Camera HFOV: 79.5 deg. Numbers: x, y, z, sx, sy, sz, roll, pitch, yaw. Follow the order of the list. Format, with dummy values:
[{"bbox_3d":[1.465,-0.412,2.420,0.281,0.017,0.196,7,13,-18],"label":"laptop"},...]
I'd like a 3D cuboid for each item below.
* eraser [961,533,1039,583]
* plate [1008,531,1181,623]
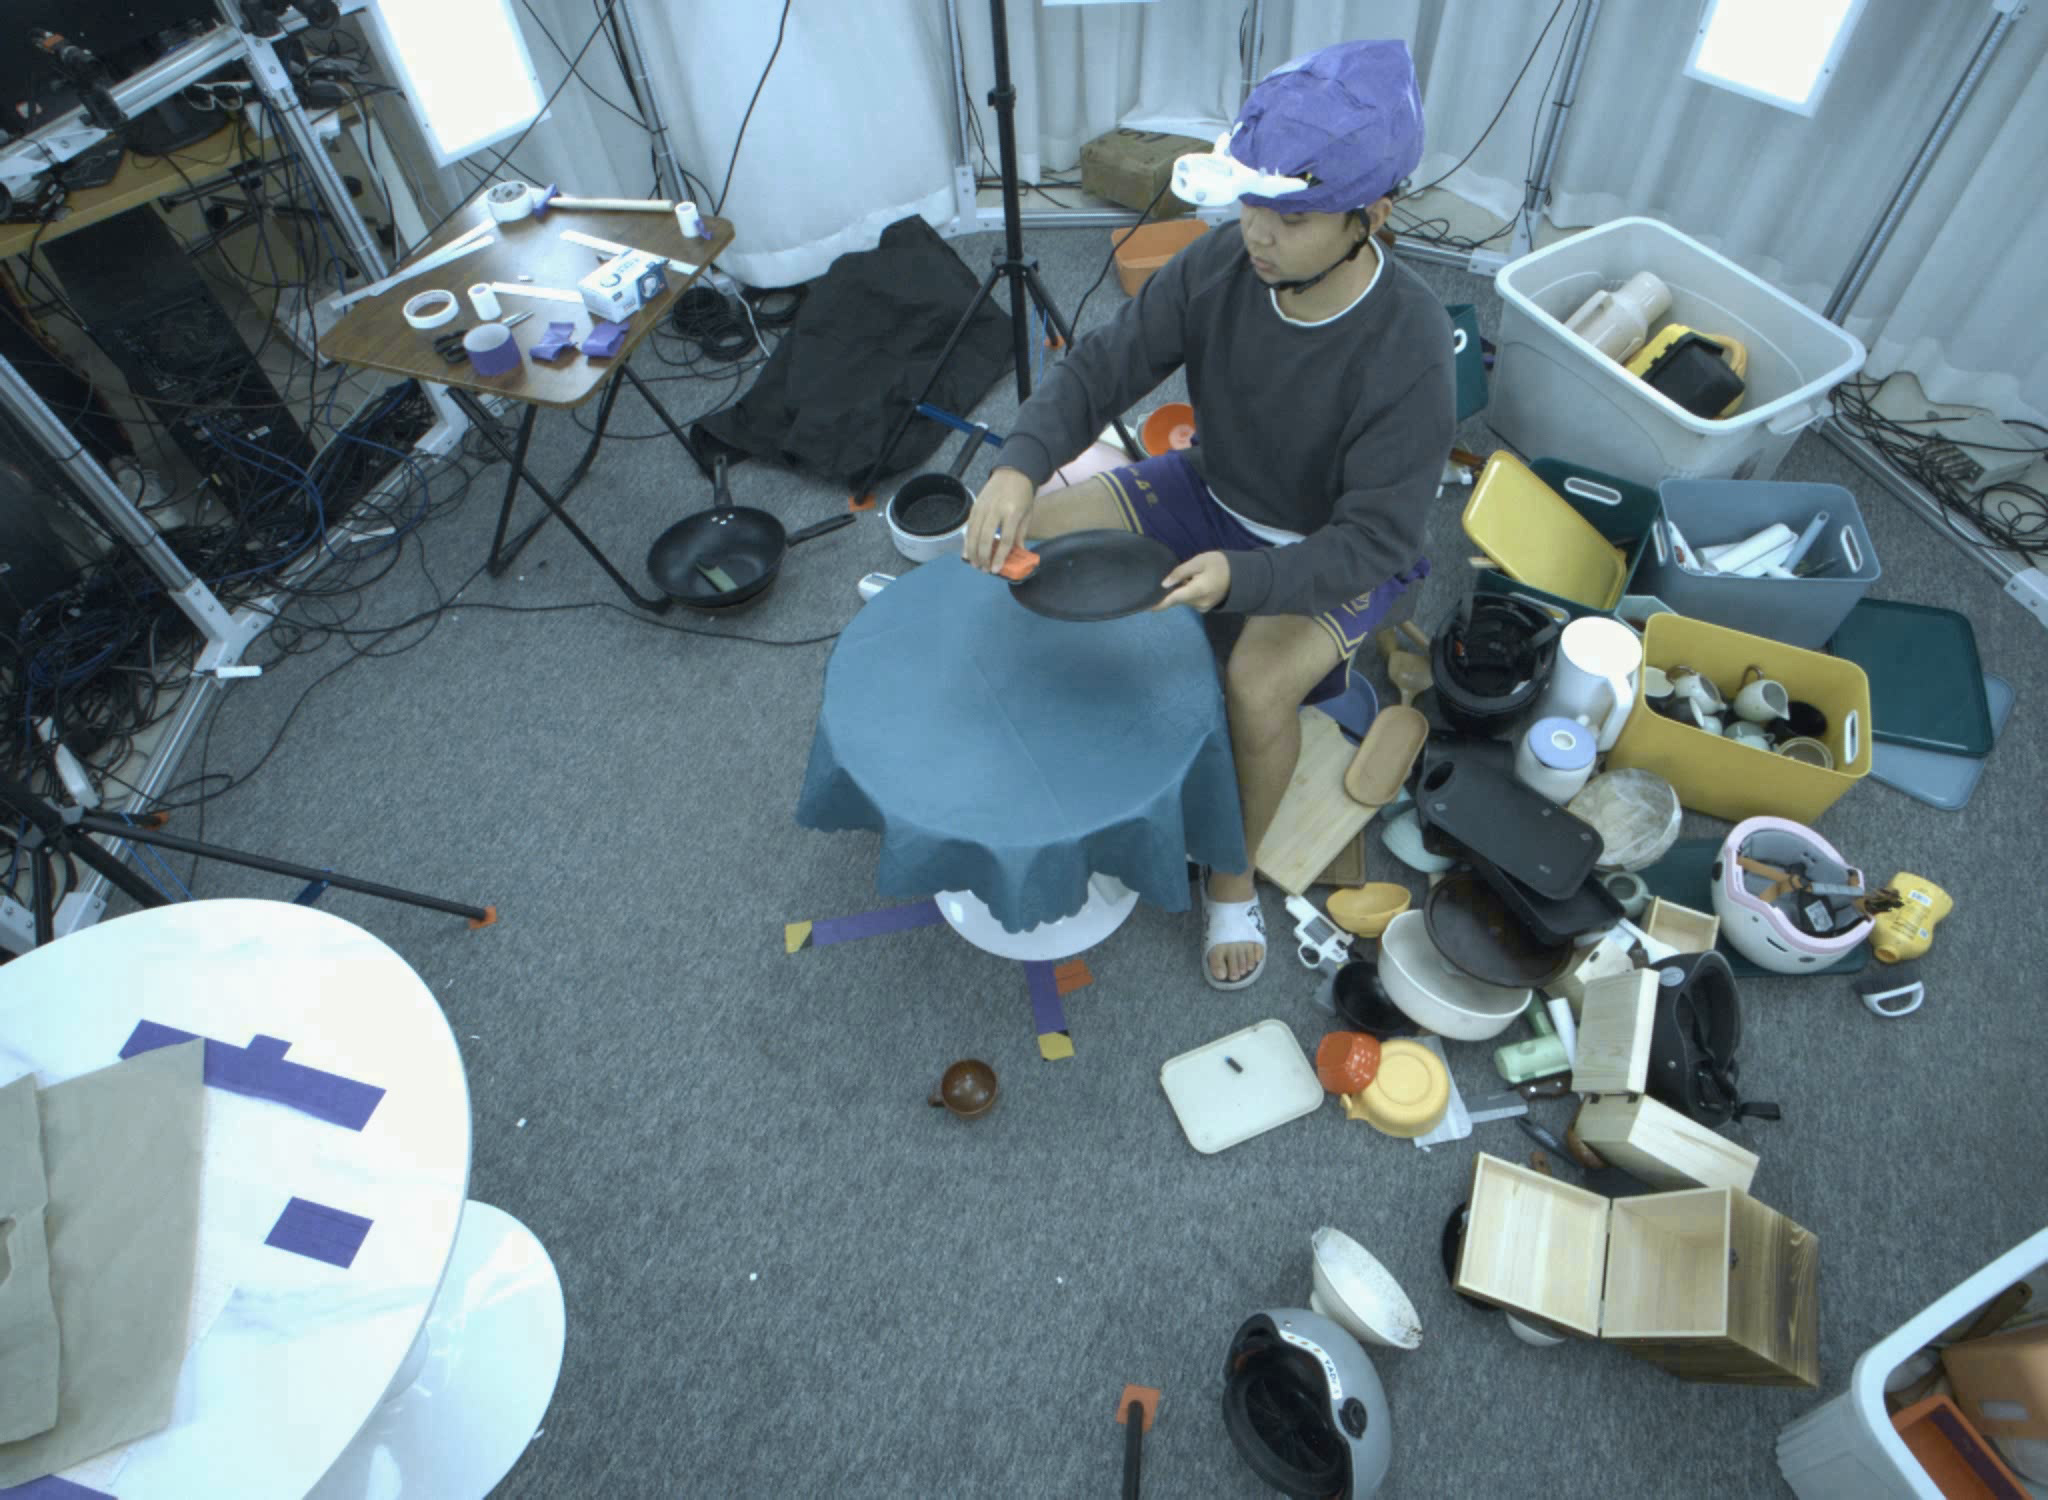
[{"bbox_3d":[-0.035,-0.274,1.741,0.106,0.023,0.059,28,46,25],"label":"eraser"},{"bbox_3d":[0.099,-0.240,1.727,0.244,0.024,0.242,-3,40,3],"label":"plate"}]
